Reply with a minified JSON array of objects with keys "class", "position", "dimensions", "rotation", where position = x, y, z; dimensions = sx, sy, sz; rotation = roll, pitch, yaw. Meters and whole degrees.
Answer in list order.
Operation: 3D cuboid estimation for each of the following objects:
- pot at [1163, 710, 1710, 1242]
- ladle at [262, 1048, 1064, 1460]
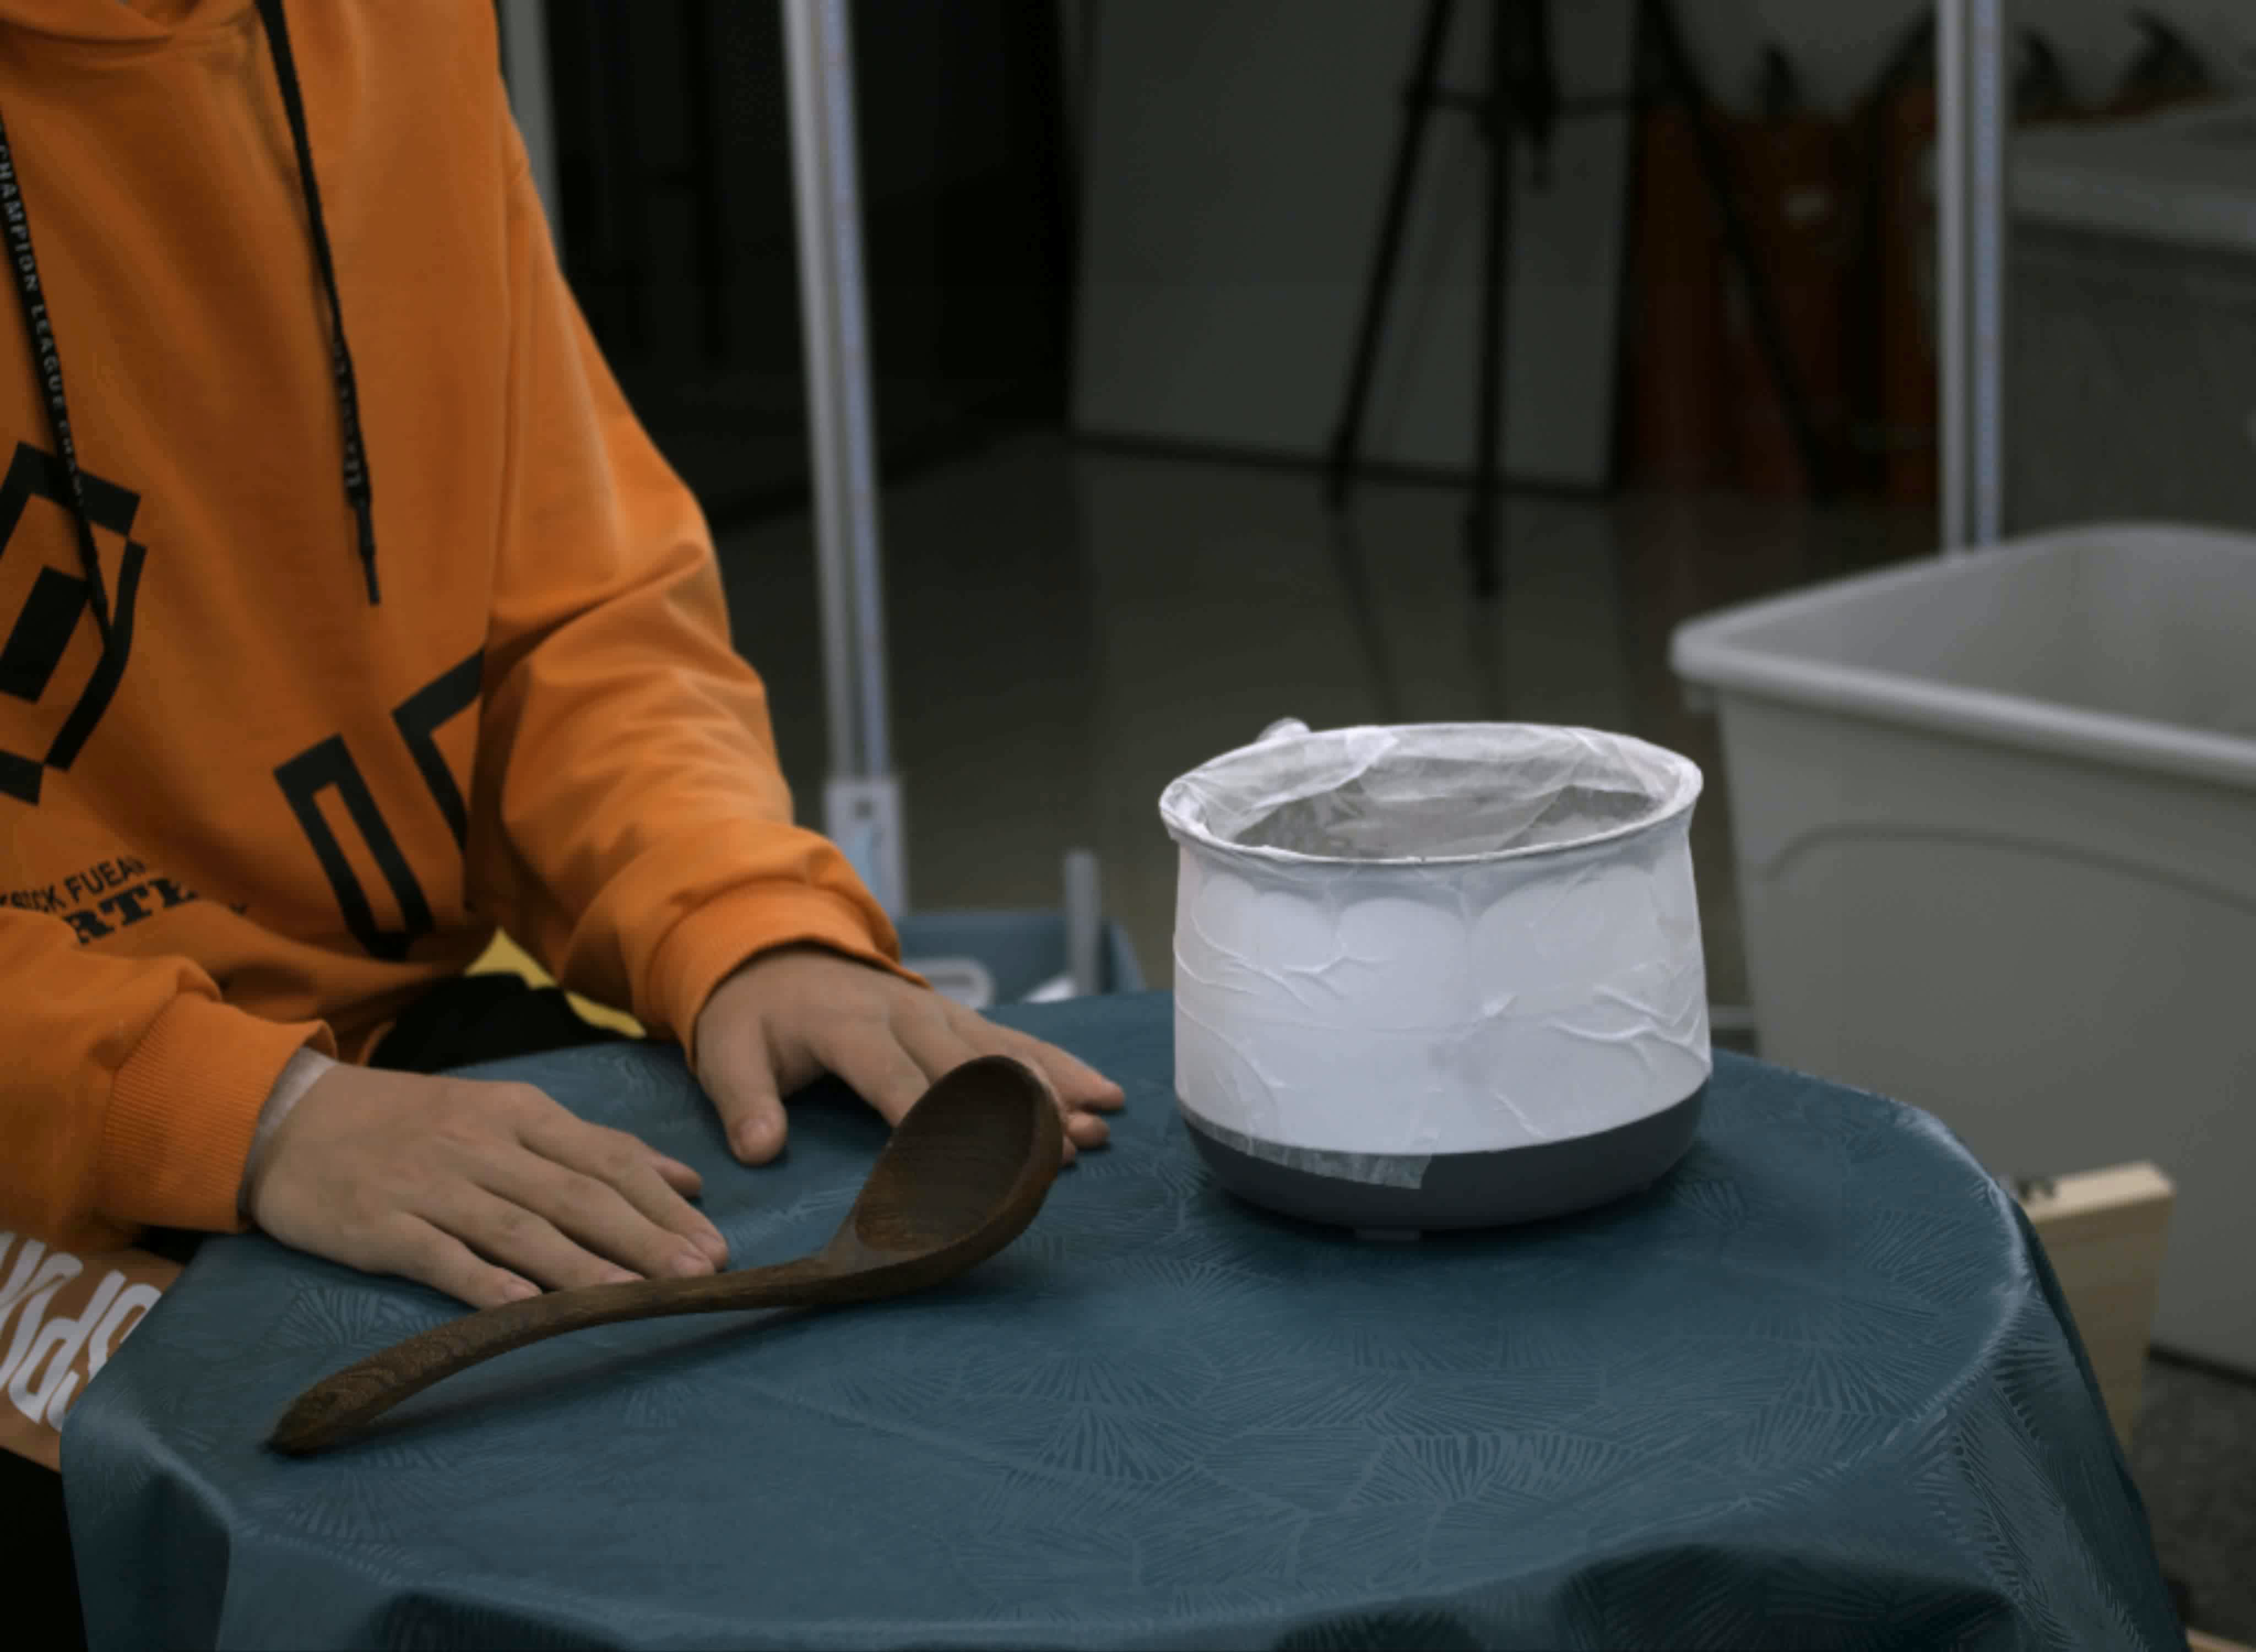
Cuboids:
[{"class":"pot","position":[0.088,0.042,1.773],"dimensions":[0.175,0.138,0.236],"rotation":[-10,15,-25]},{"class":"ladle","position":[-0.139,0.127,1.643],"dimensions":[0.268,0.072,0.077],"rotation":[-12,13,-31]}]
